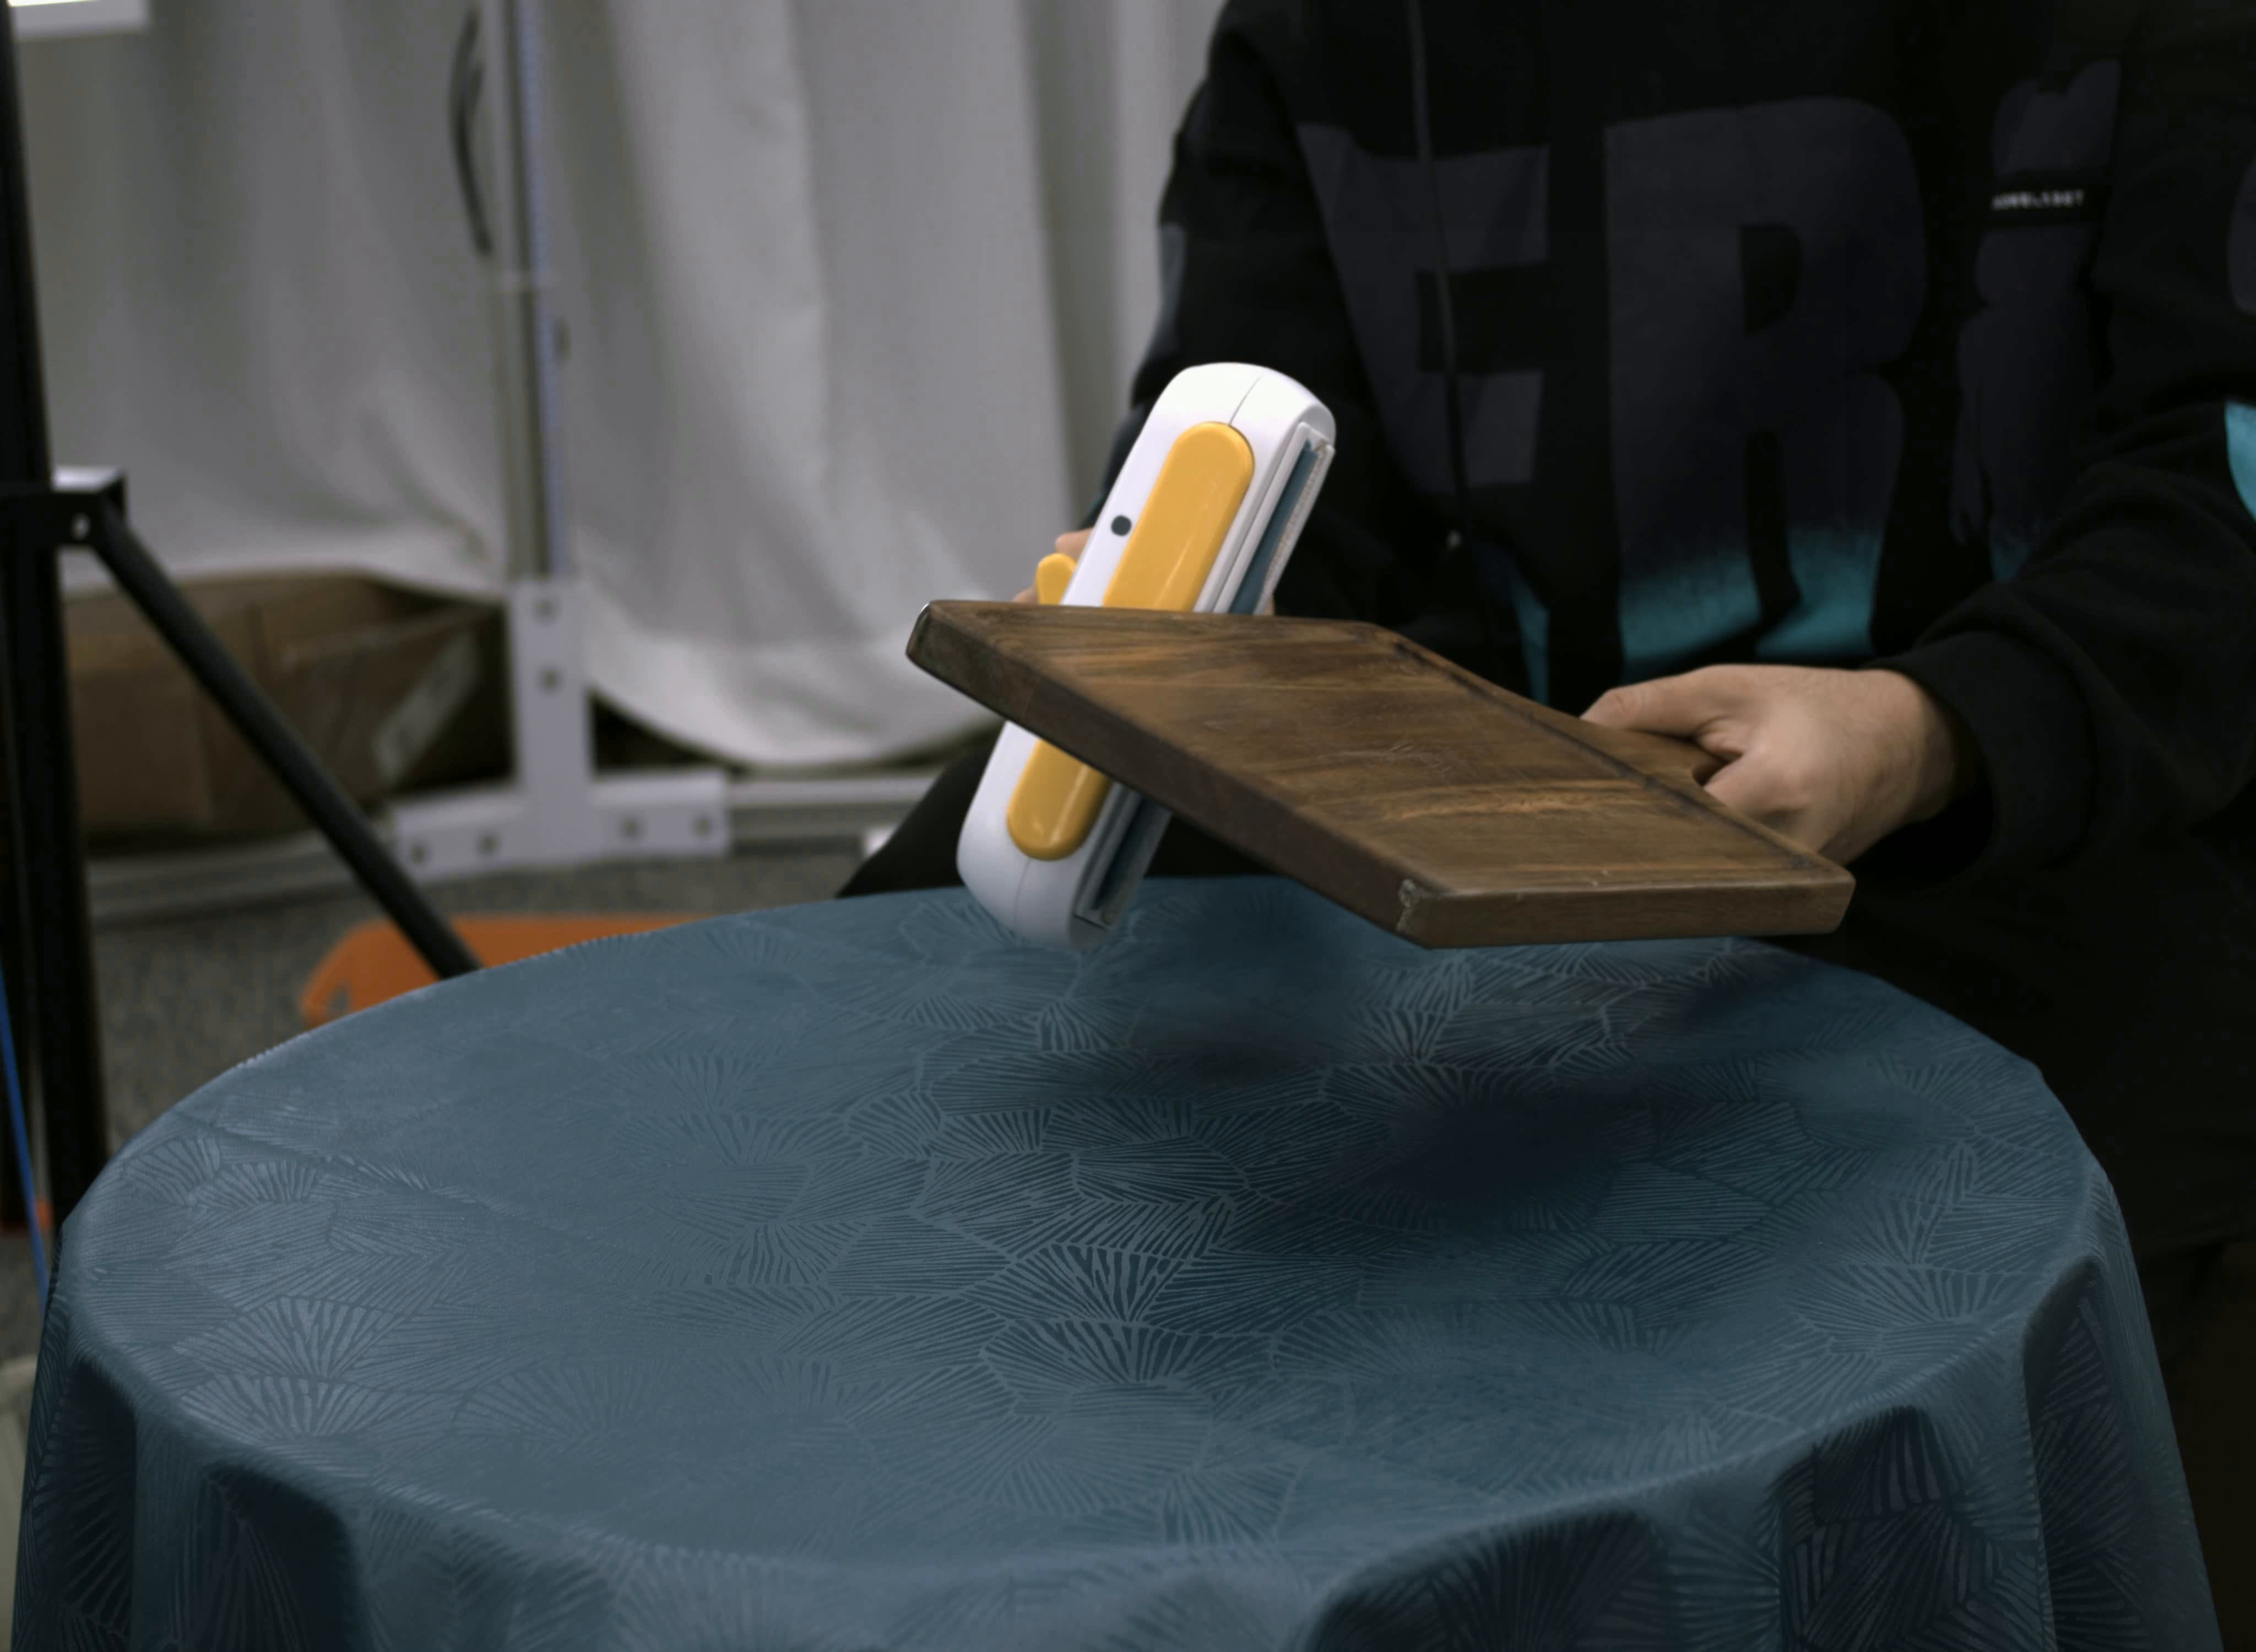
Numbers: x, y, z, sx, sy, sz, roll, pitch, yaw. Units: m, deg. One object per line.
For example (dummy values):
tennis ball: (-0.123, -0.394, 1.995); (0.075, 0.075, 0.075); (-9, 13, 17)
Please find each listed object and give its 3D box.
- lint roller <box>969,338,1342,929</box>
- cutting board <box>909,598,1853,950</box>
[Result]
lint roller: (0.010, -0.054, 1.724); (0.074, 0.193, 0.190); (20, -6, 10)
cutting board: (0.105, -0.016, 1.591); (0.205, 0.023, 0.344); (29, 15, 31)
